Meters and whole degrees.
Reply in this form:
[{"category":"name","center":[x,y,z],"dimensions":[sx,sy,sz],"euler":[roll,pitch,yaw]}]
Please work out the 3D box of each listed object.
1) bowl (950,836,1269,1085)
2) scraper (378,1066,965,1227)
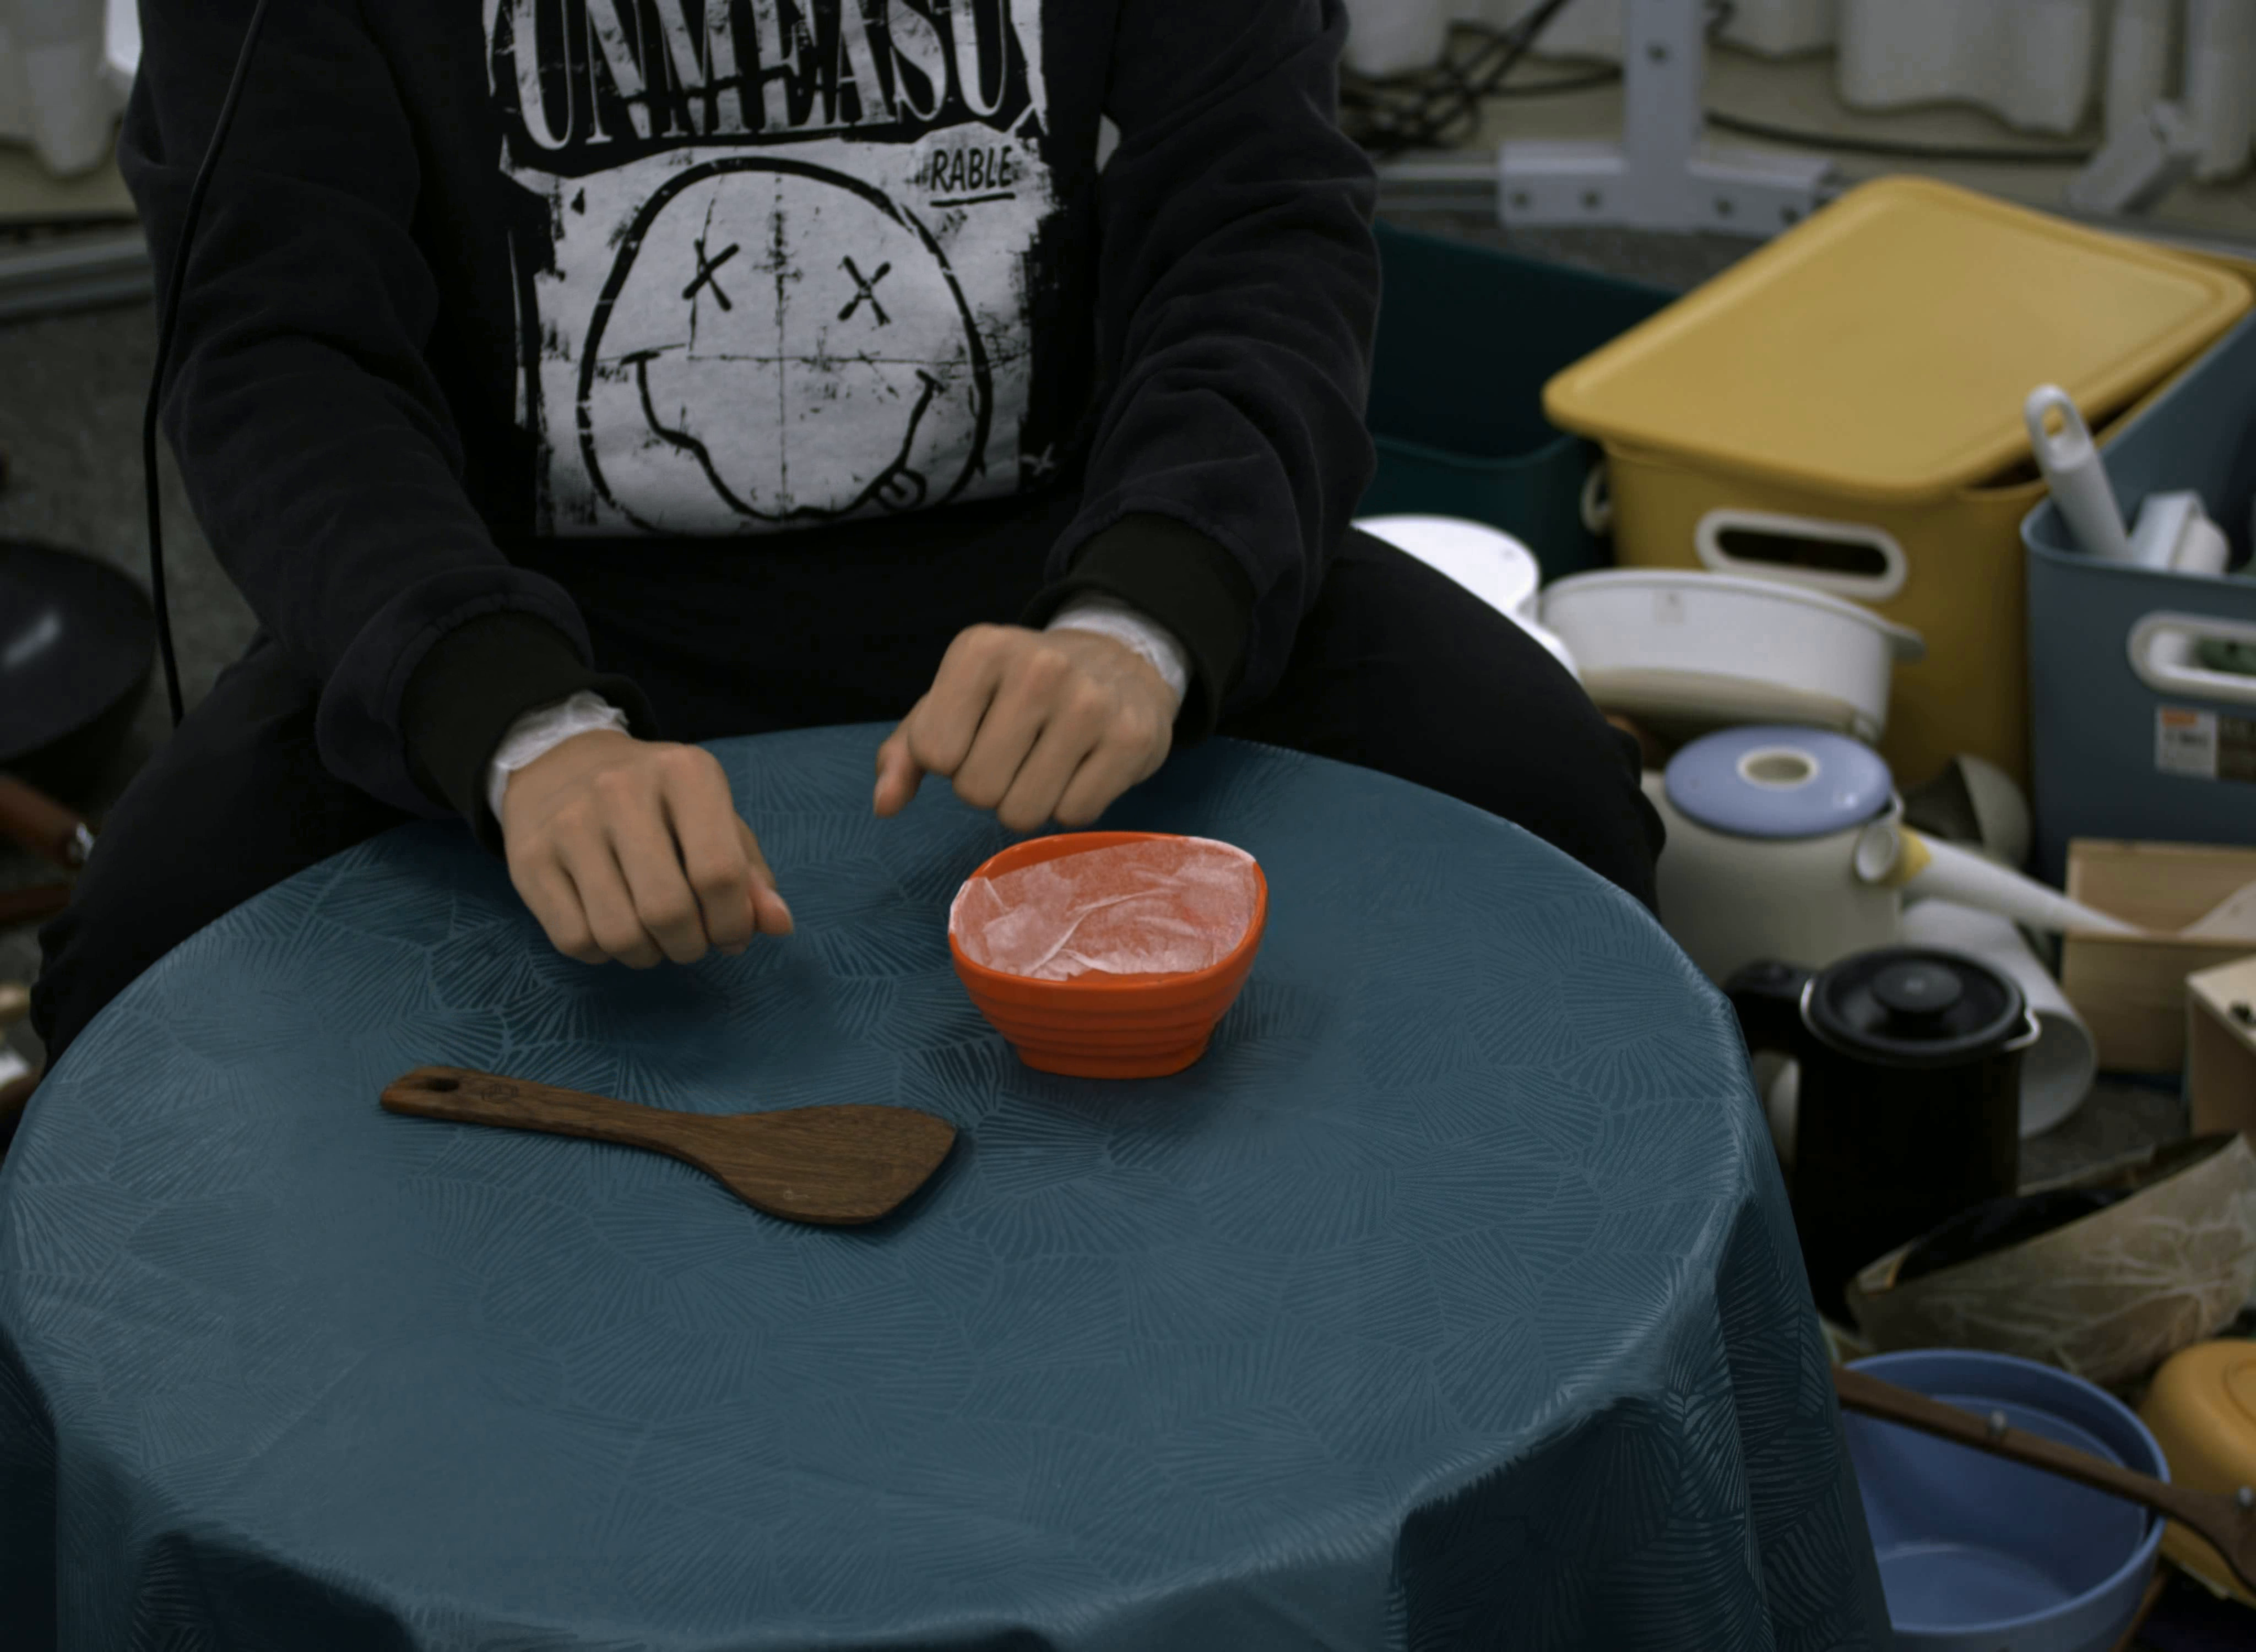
[{"category":"bowl","center":[-0.005,0.051,1.947],"dimensions":[0.118,0.051,0.121],"euler":[-3,28,2]},{"category":"scraper","center":[-0.159,0.104,1.903],"dimensions":[0.210,0.011,0.077],"euler":[8,29,22]}]
